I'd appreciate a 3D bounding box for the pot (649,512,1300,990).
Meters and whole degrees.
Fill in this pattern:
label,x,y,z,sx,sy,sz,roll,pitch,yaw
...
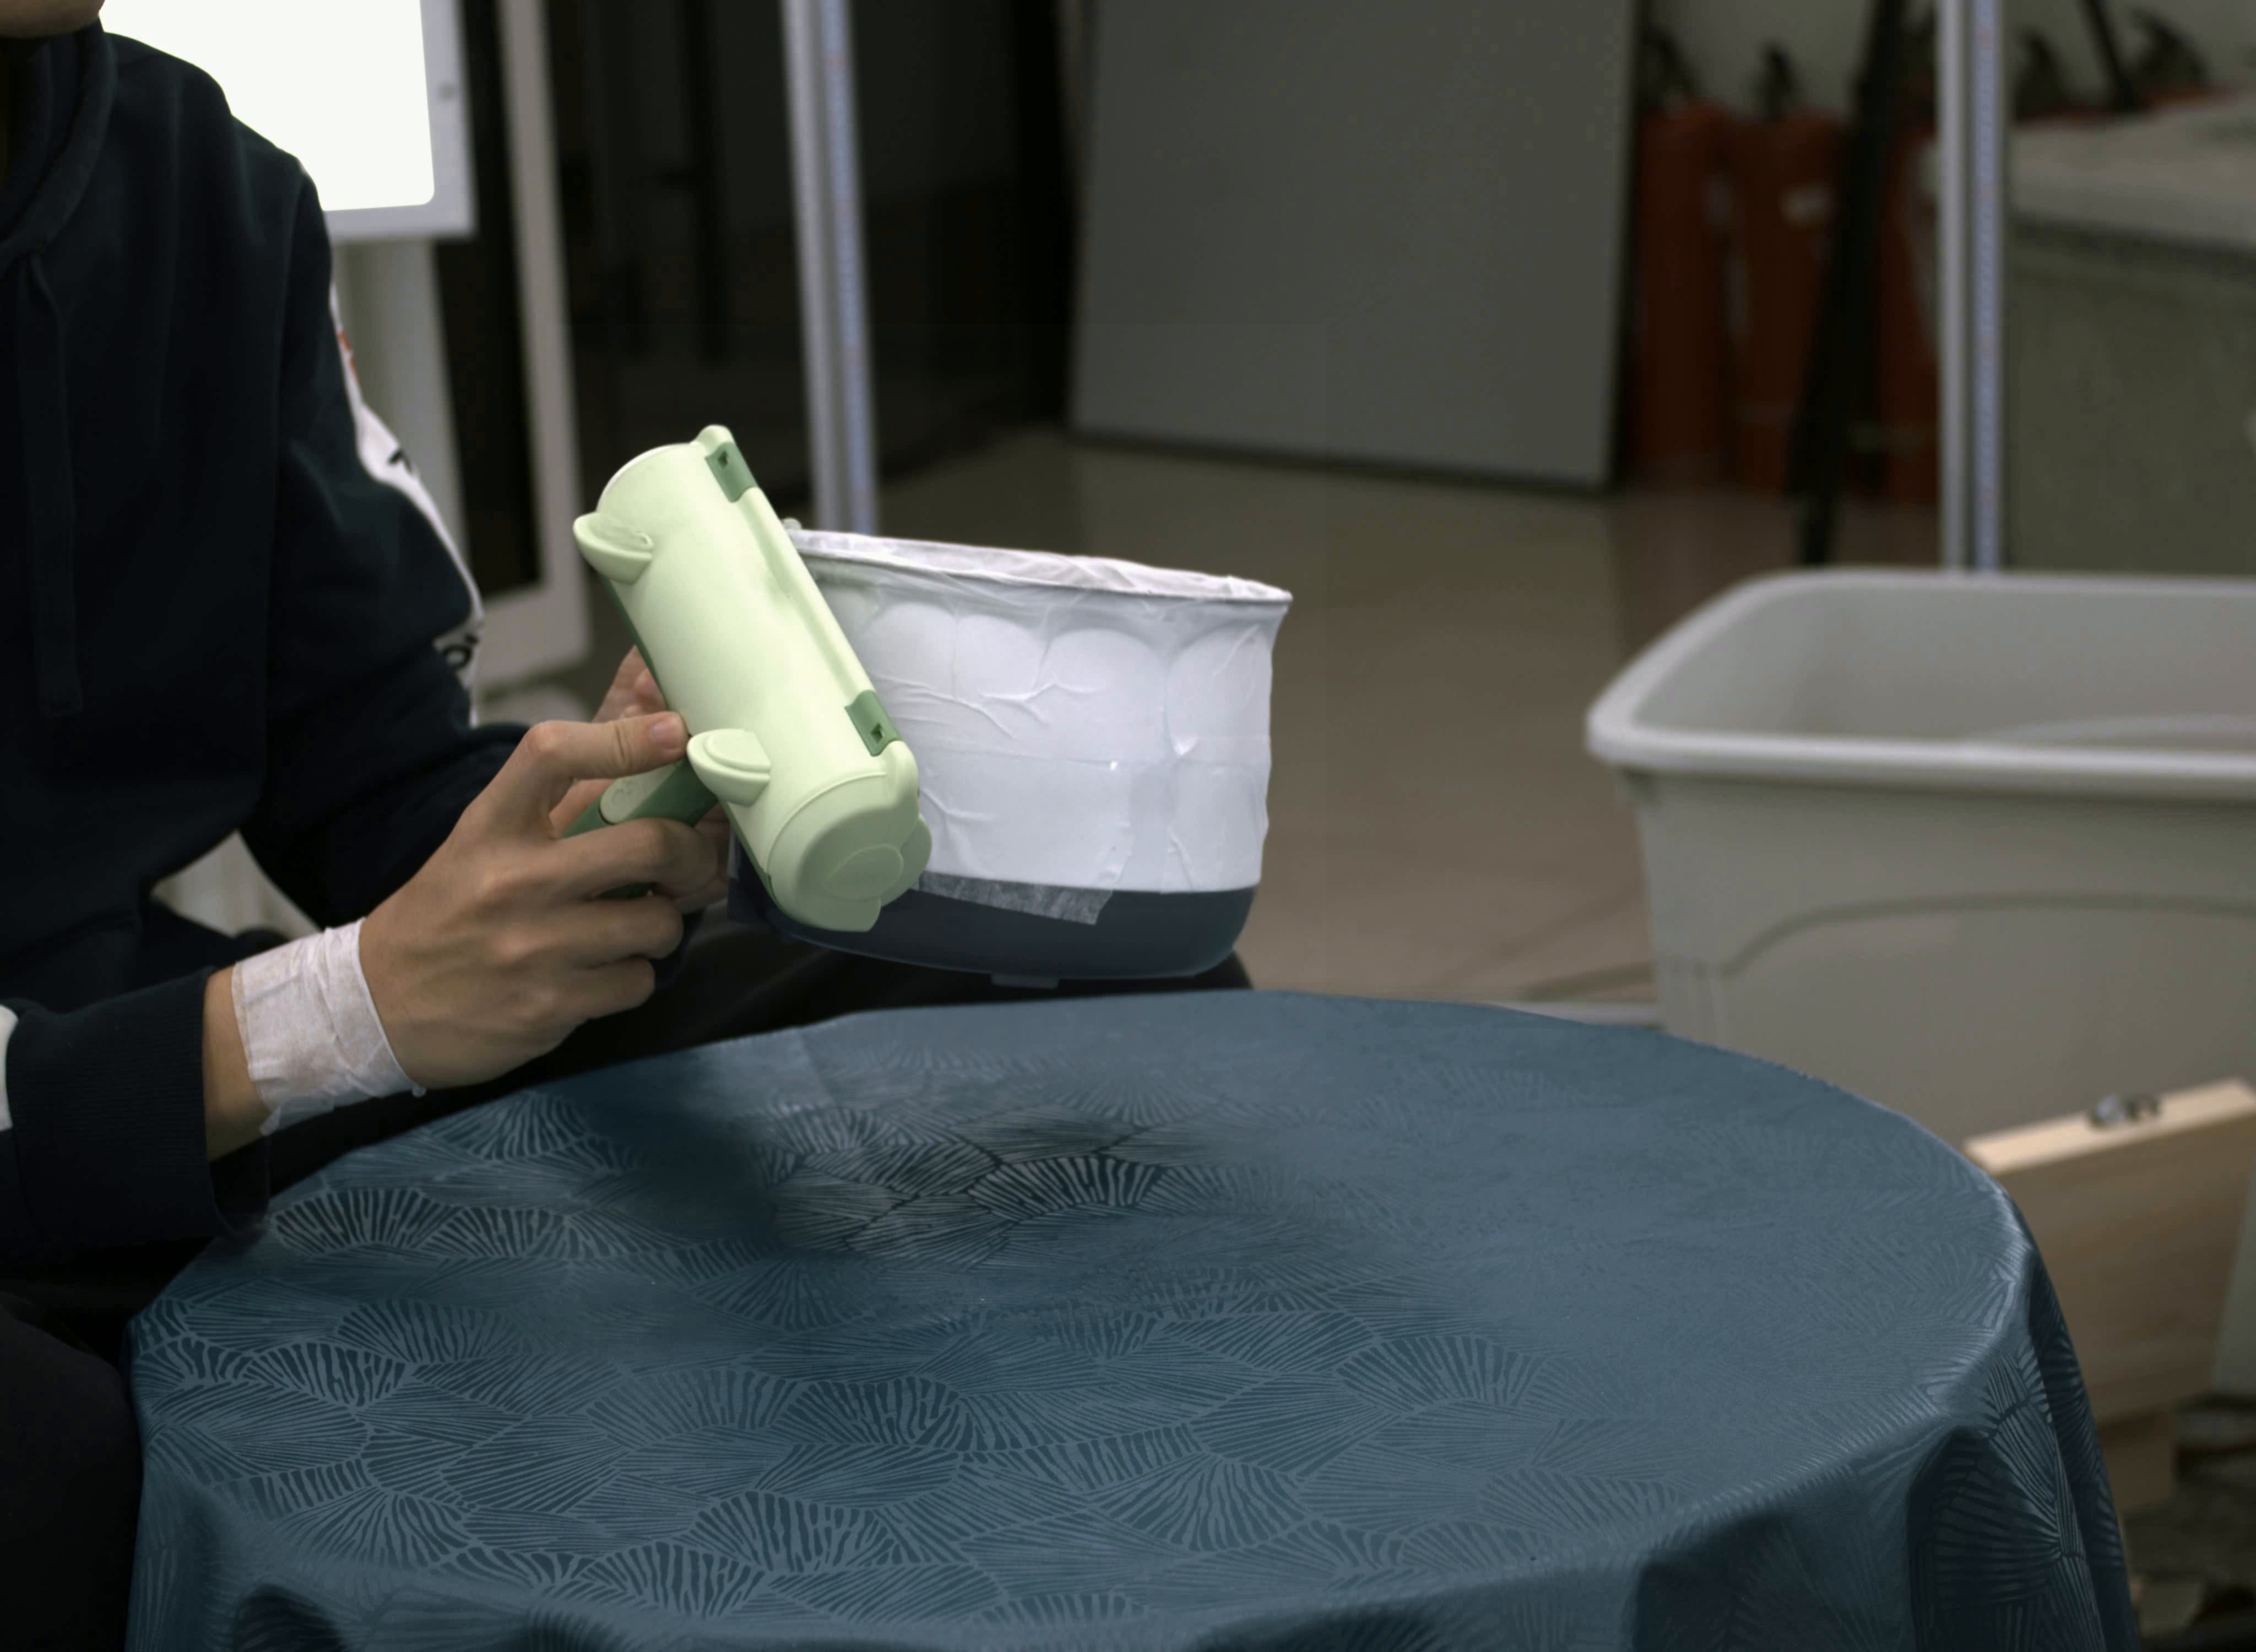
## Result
label,x,y,z,sx,sy,sz,roll,pitch,yaw
pot,-0.062,-0.027,1.796,0.235,0.138,0.175,10,5,32

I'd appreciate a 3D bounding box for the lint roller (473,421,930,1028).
label,x,y,z,sx,sy,sz,roll,pitch,yaw
lint roller,-0.161,-0.013,1.711,0.081,0.184,0.201,35,16,-43
